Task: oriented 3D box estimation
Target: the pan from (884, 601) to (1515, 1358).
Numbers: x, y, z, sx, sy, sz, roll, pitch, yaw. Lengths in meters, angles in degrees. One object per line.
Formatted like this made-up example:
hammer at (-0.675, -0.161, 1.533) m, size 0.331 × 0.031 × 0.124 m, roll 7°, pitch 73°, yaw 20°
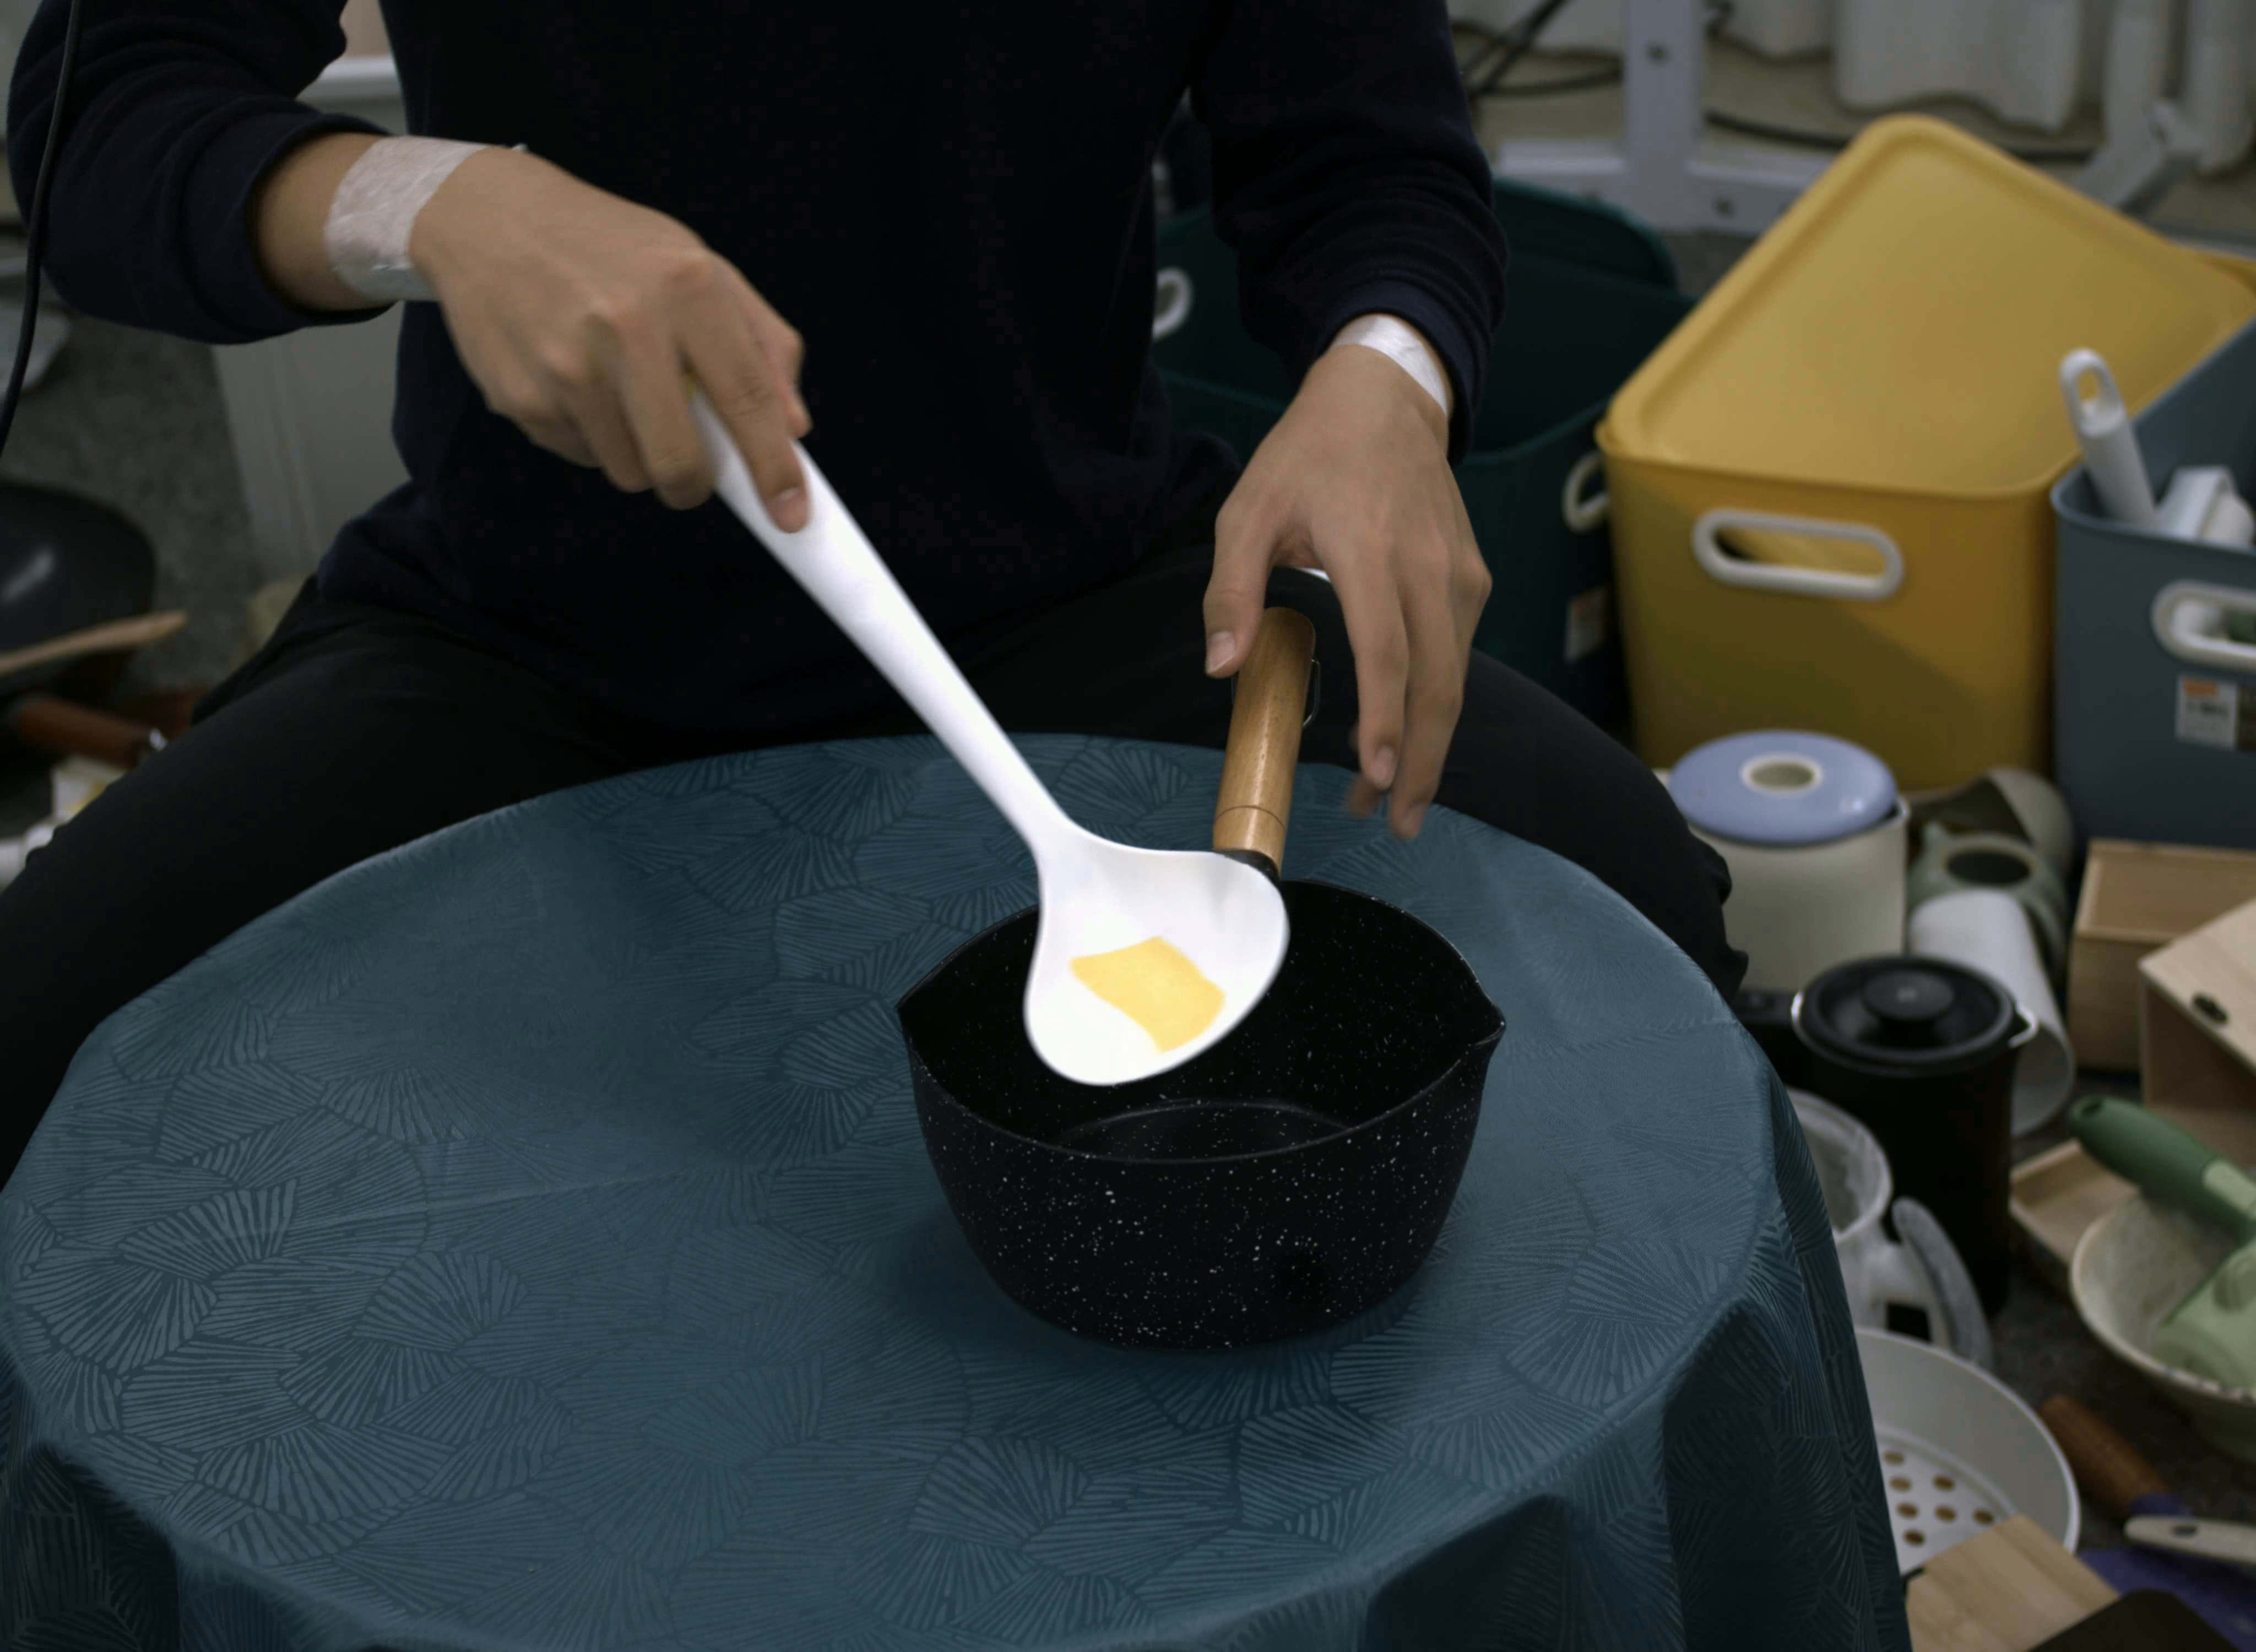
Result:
pan at (0.032, 0.048, 1.886) m, size 0.206 × 0.107 × 0.349 m, roll 0°, pitch 29°, yaw 8°

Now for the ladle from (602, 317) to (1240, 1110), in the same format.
ladle at (-0.072, -0.040, 1.776) m, size 0.090 × 0.294 × 0.070 m, roll -38°, pitch -7°, yaw 6°
